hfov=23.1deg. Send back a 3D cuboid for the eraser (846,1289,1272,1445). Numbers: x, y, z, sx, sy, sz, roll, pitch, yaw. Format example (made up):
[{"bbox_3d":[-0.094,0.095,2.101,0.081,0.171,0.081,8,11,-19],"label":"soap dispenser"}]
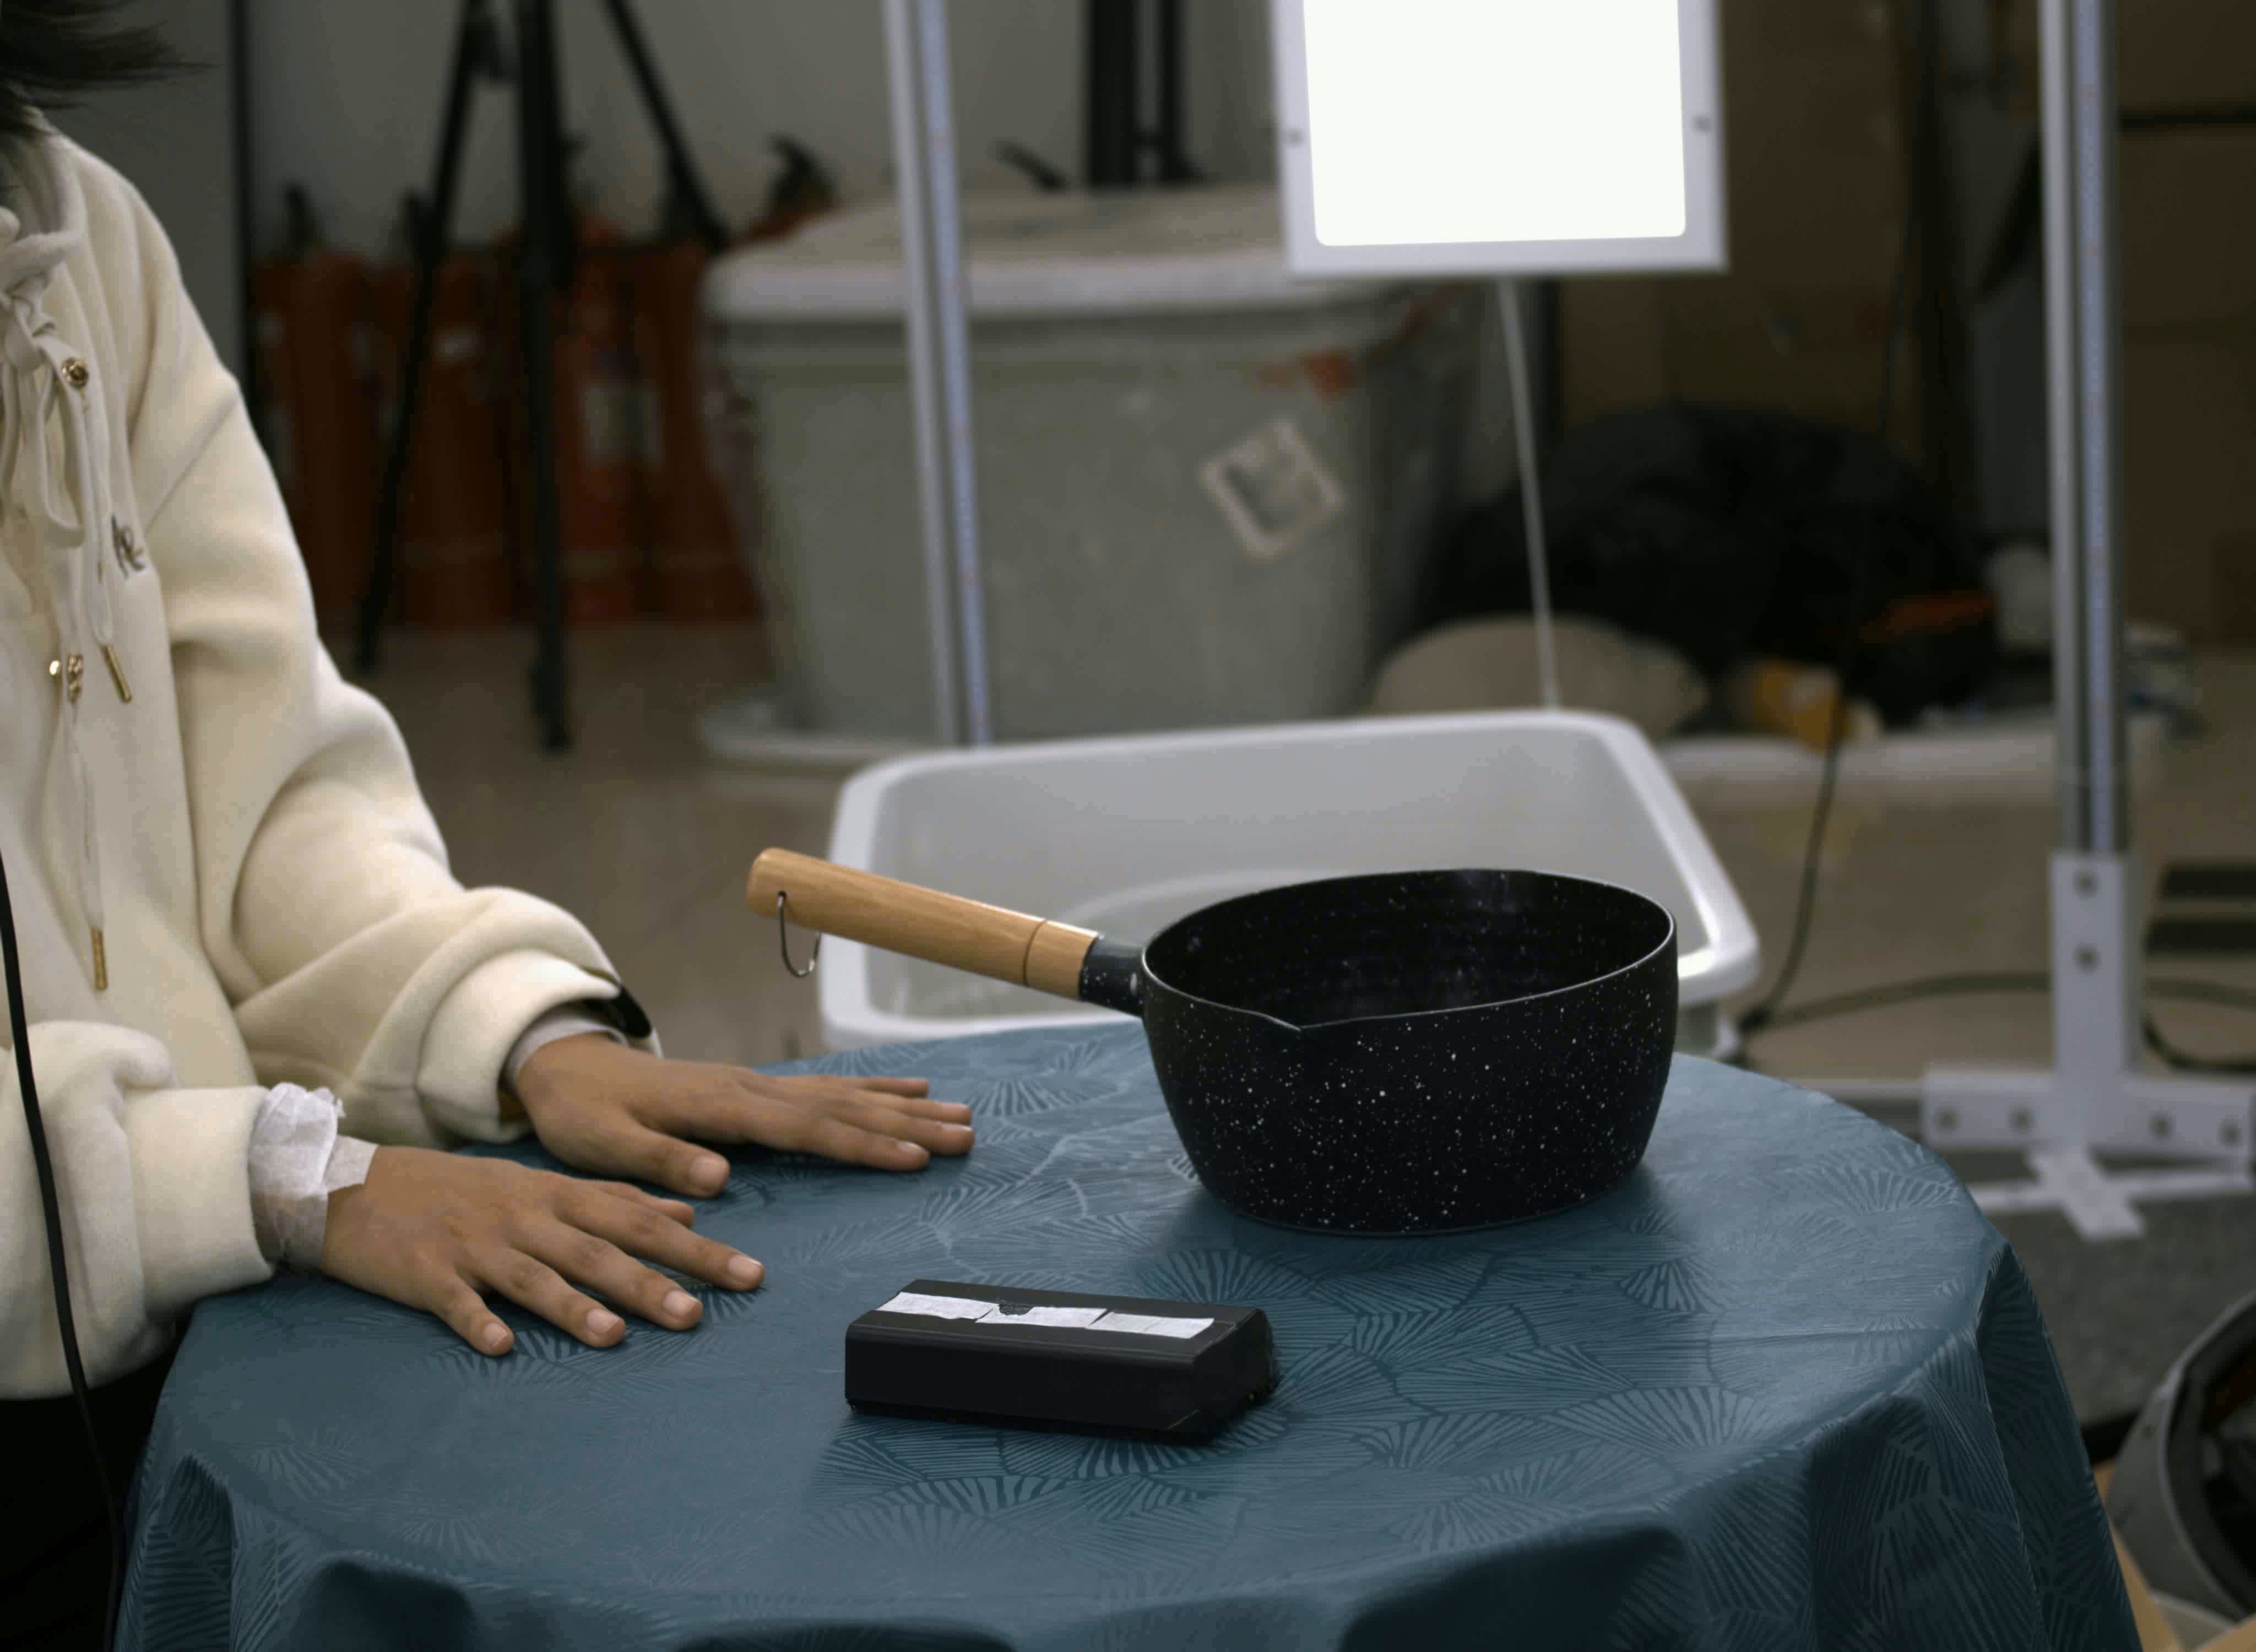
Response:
[{"bbox_3d":[-0.020,0.165,1.692,0.128,0.030,0.052,1,15,30],"label":"eraser"}]

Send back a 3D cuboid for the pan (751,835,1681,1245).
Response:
[{"bbox_3d":[0.025,0.065,1.912,0.348,0.108,0.203,3,17,24],"label":"pan"}]
